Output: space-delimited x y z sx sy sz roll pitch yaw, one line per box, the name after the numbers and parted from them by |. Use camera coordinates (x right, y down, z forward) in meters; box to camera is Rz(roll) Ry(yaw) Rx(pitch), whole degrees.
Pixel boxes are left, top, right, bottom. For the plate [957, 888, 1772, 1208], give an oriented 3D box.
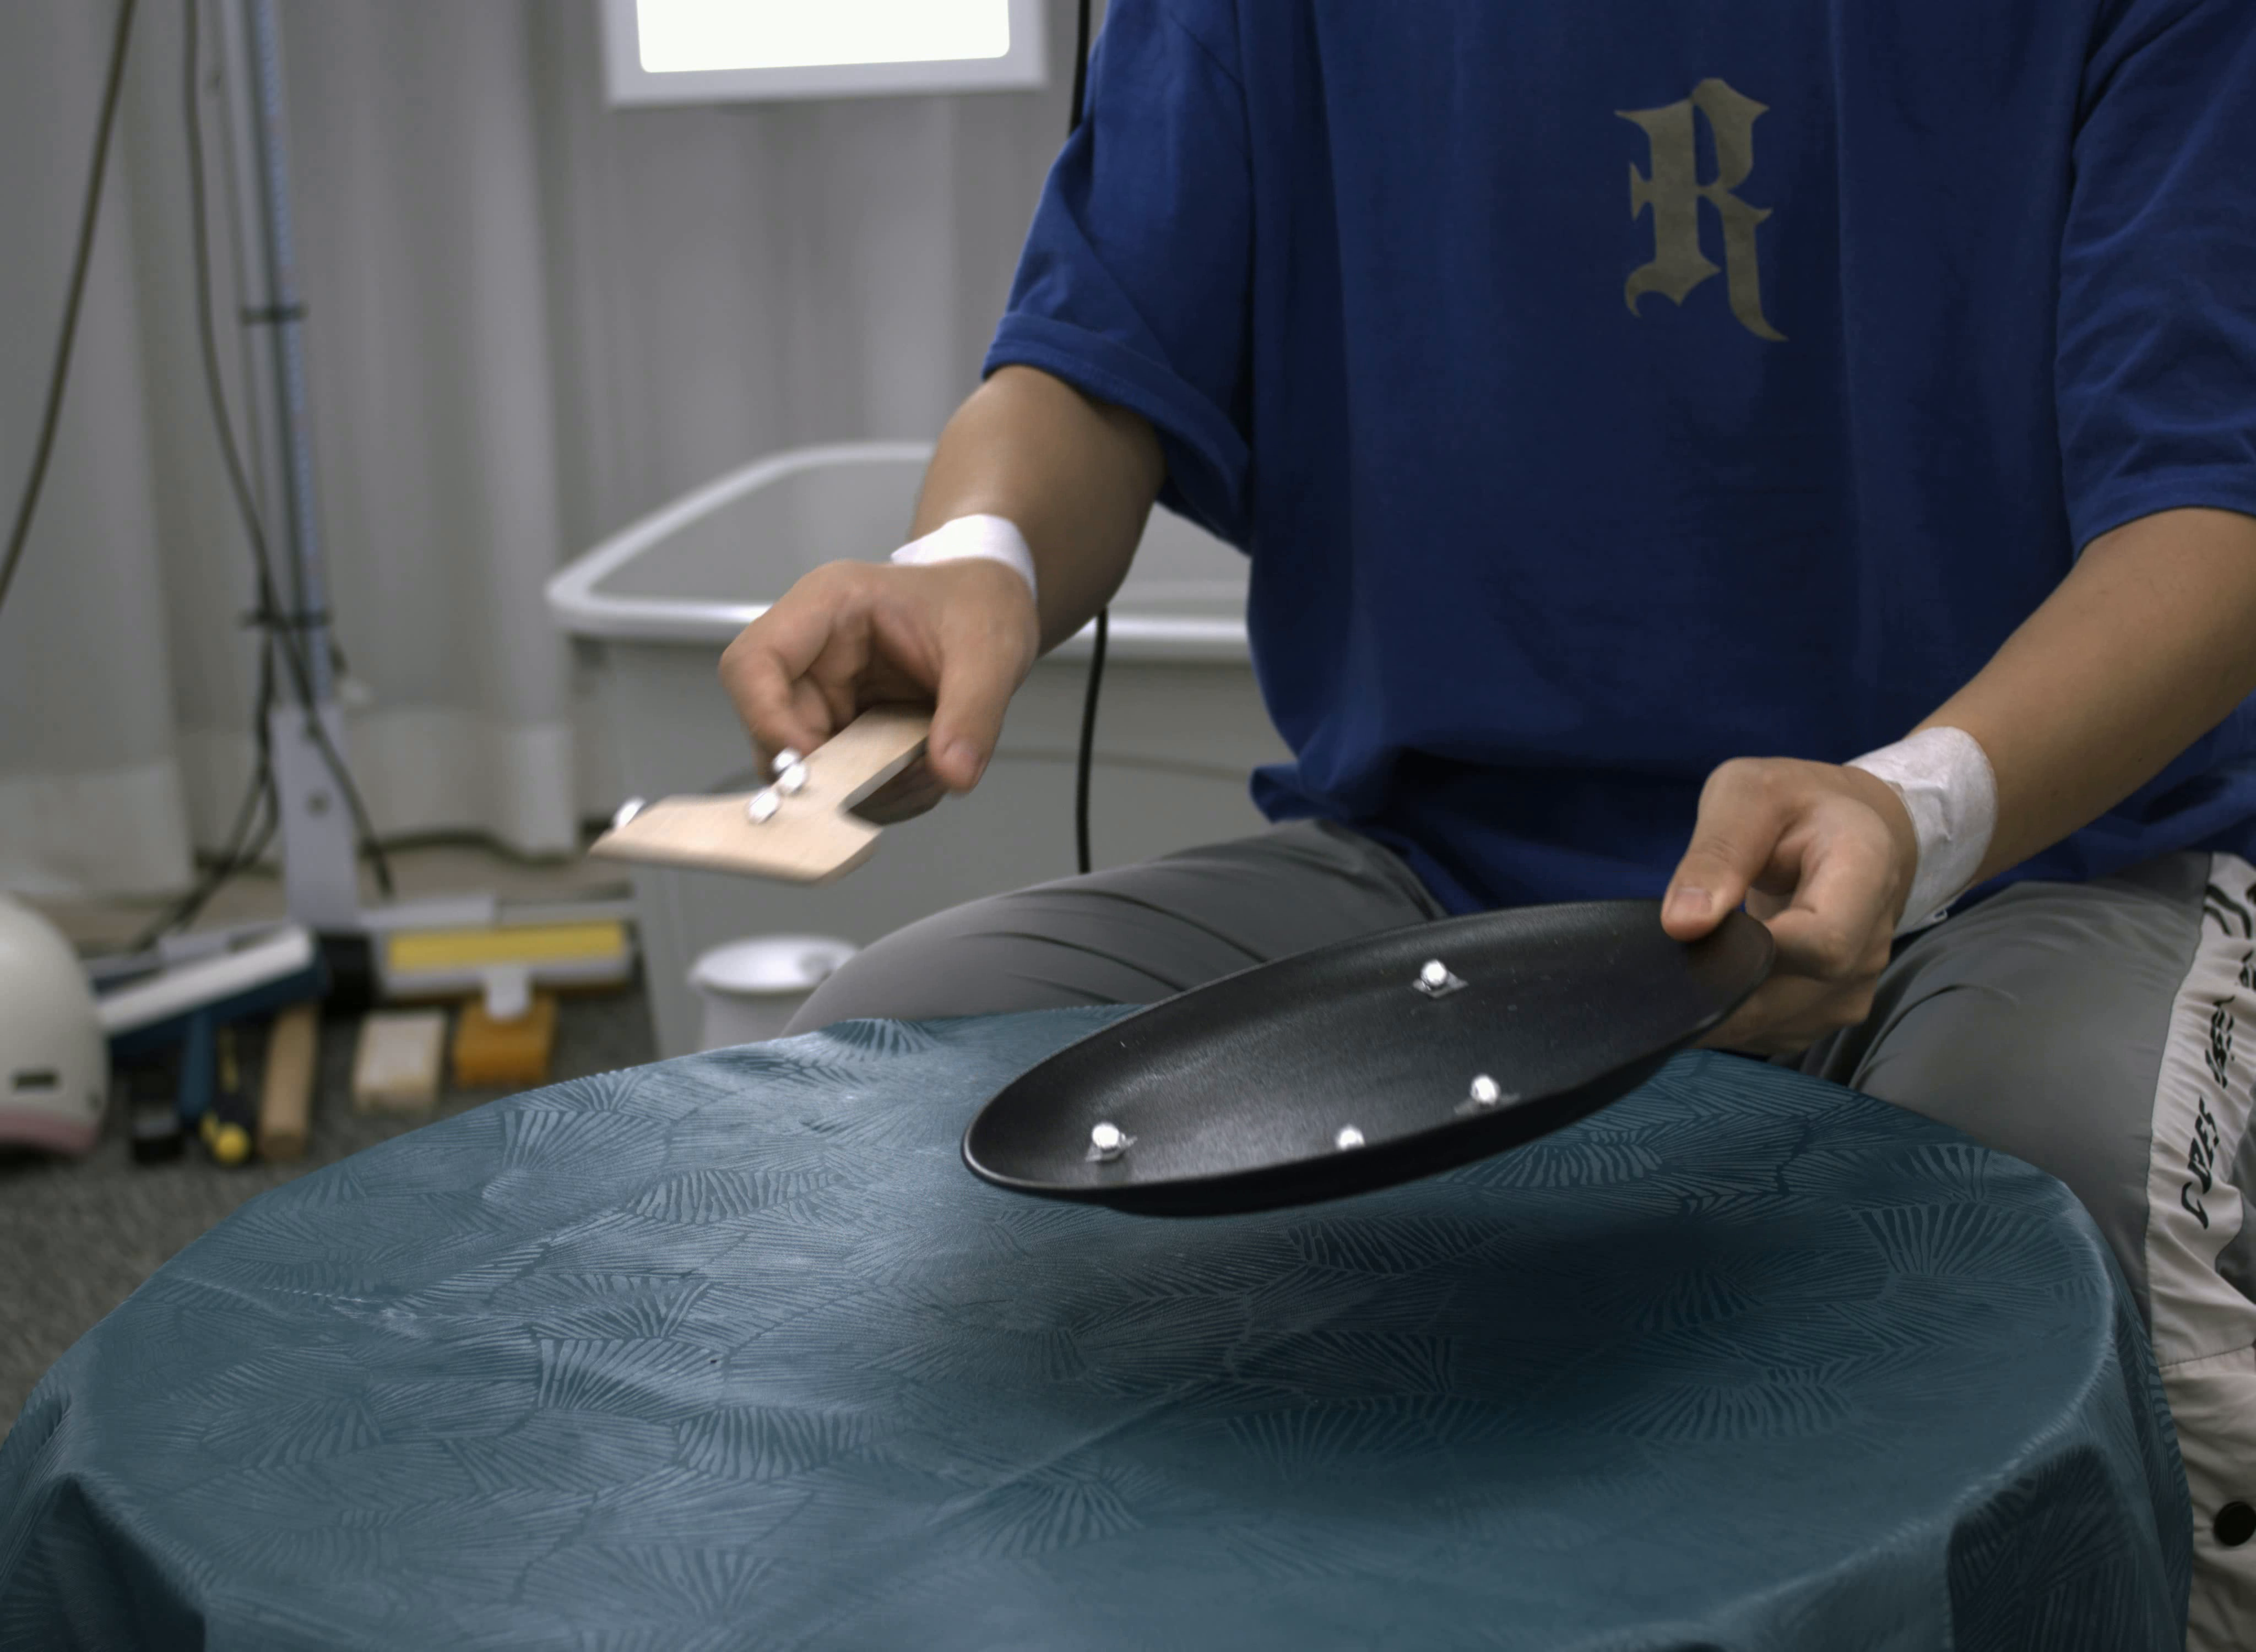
0.070 0.068 1.583 0.244 0.023 0.245 -15 11 3 | plate

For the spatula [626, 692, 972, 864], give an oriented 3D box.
-0.089 -0.018 1.693 0.072 0.010 0.294 9 10 8 | spatula
